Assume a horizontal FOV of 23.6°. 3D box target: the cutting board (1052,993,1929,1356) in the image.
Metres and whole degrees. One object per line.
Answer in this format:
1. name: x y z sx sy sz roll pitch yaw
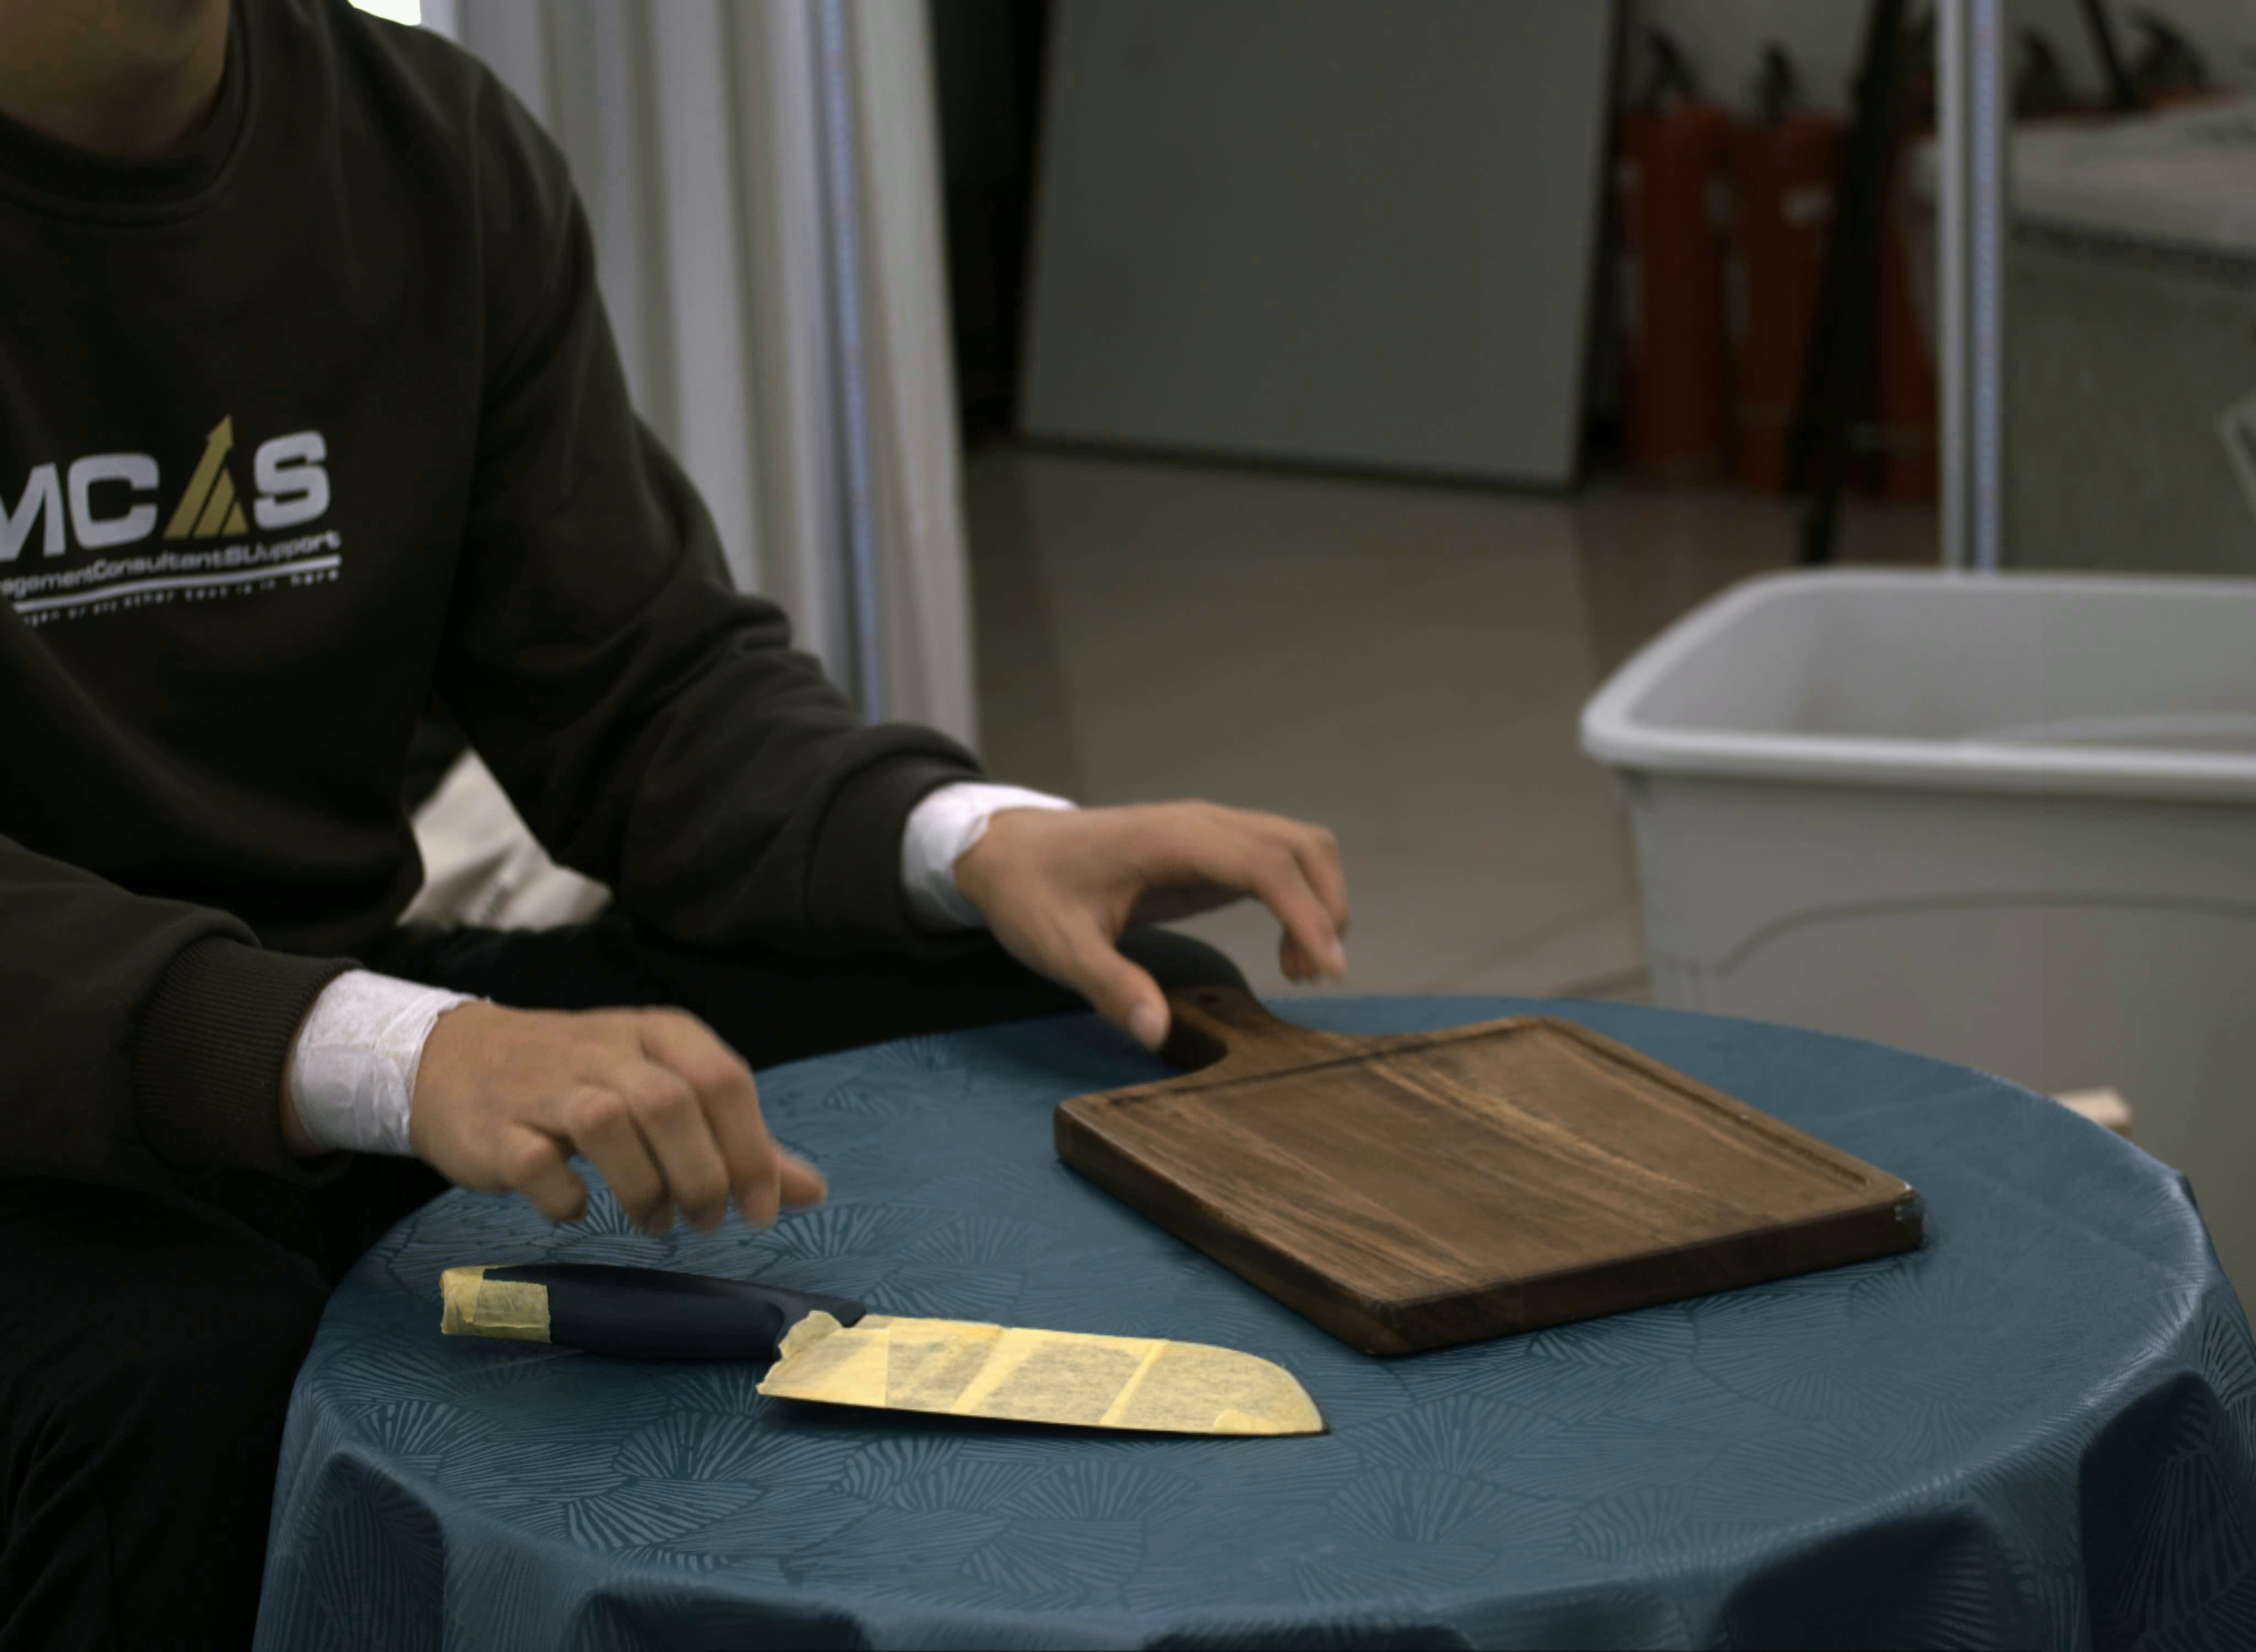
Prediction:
1. cutting board: 0.092 0.102 1.780 0.197 0.023 0.355 -9 14 -22

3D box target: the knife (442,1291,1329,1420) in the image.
1. knife: -0.077 0.161 1.603 0.289 0.027 0.080 2 12 19
